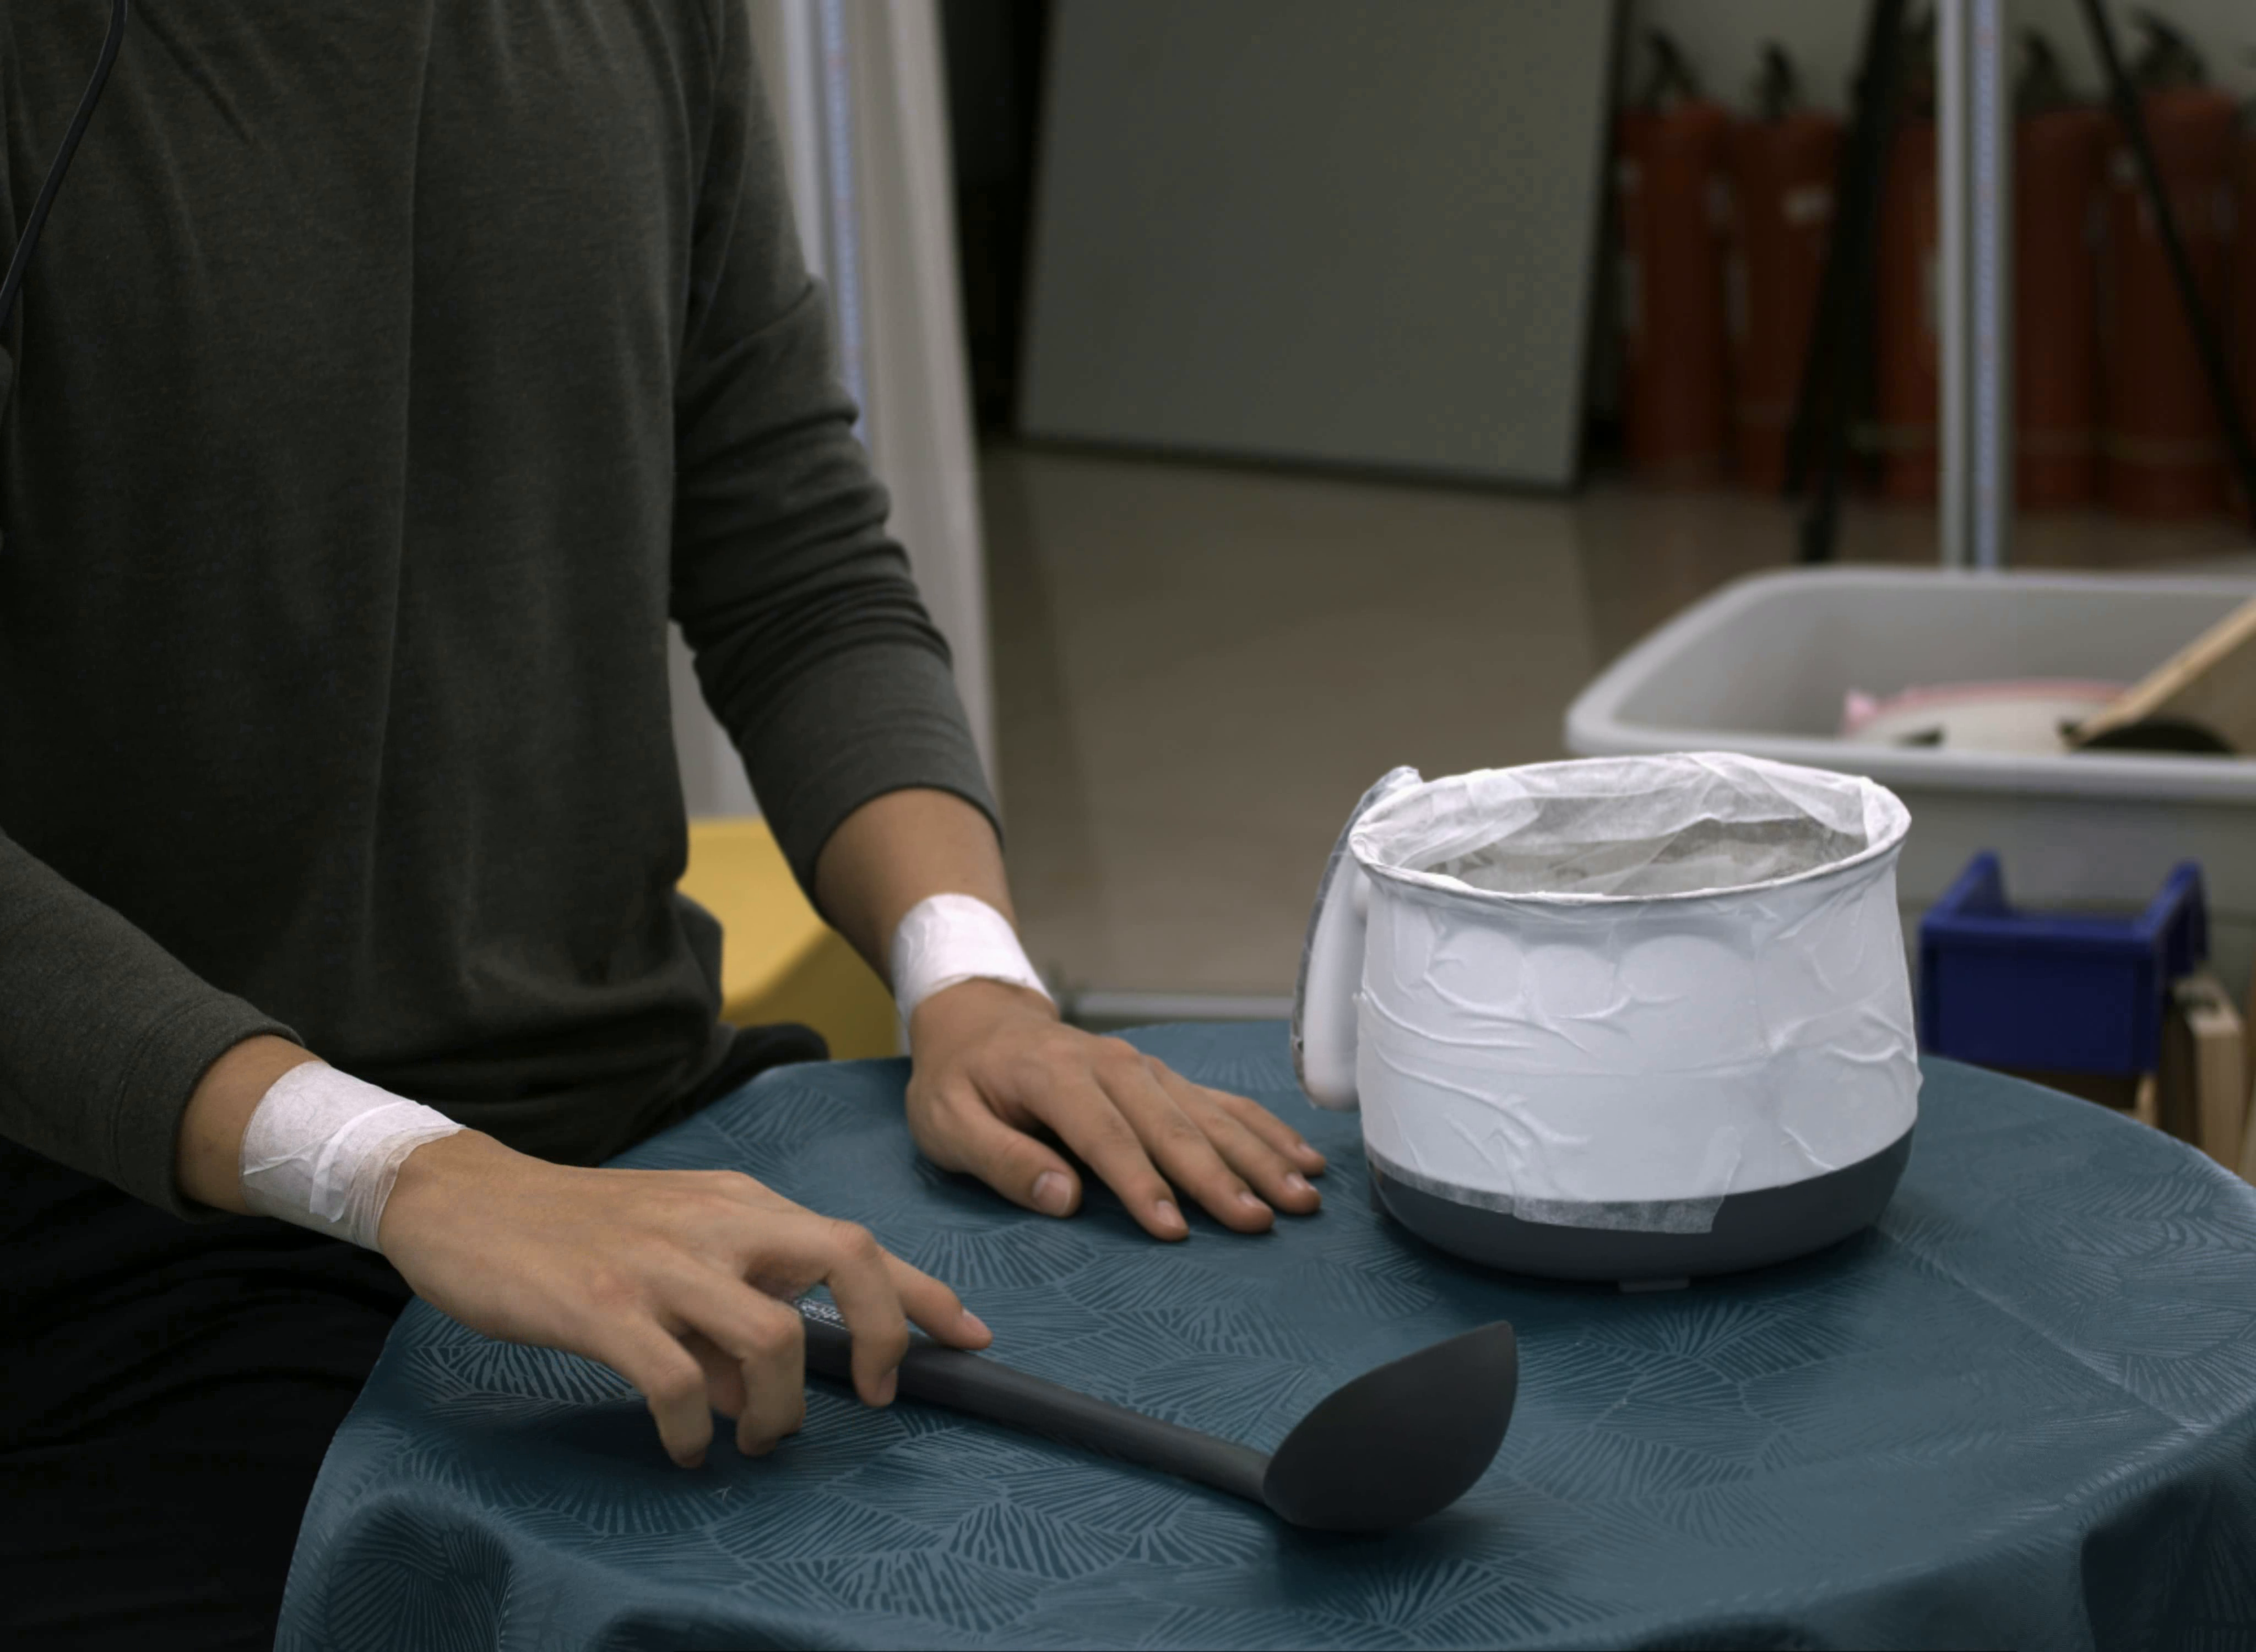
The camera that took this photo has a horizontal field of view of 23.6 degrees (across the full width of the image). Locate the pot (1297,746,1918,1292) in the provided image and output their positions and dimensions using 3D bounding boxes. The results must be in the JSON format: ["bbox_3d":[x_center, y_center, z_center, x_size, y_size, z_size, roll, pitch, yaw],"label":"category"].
[{"bbox_3d":[0.141,0.055,1.712,0.175,0.138,0.236,-15,17,-41],"label":"pot"}]

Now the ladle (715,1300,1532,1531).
[{"bbox_3d":[-0.015,0.146,1.539,0.084,0.065,0.317,-8,12,-43],"label":"ladle"}]
